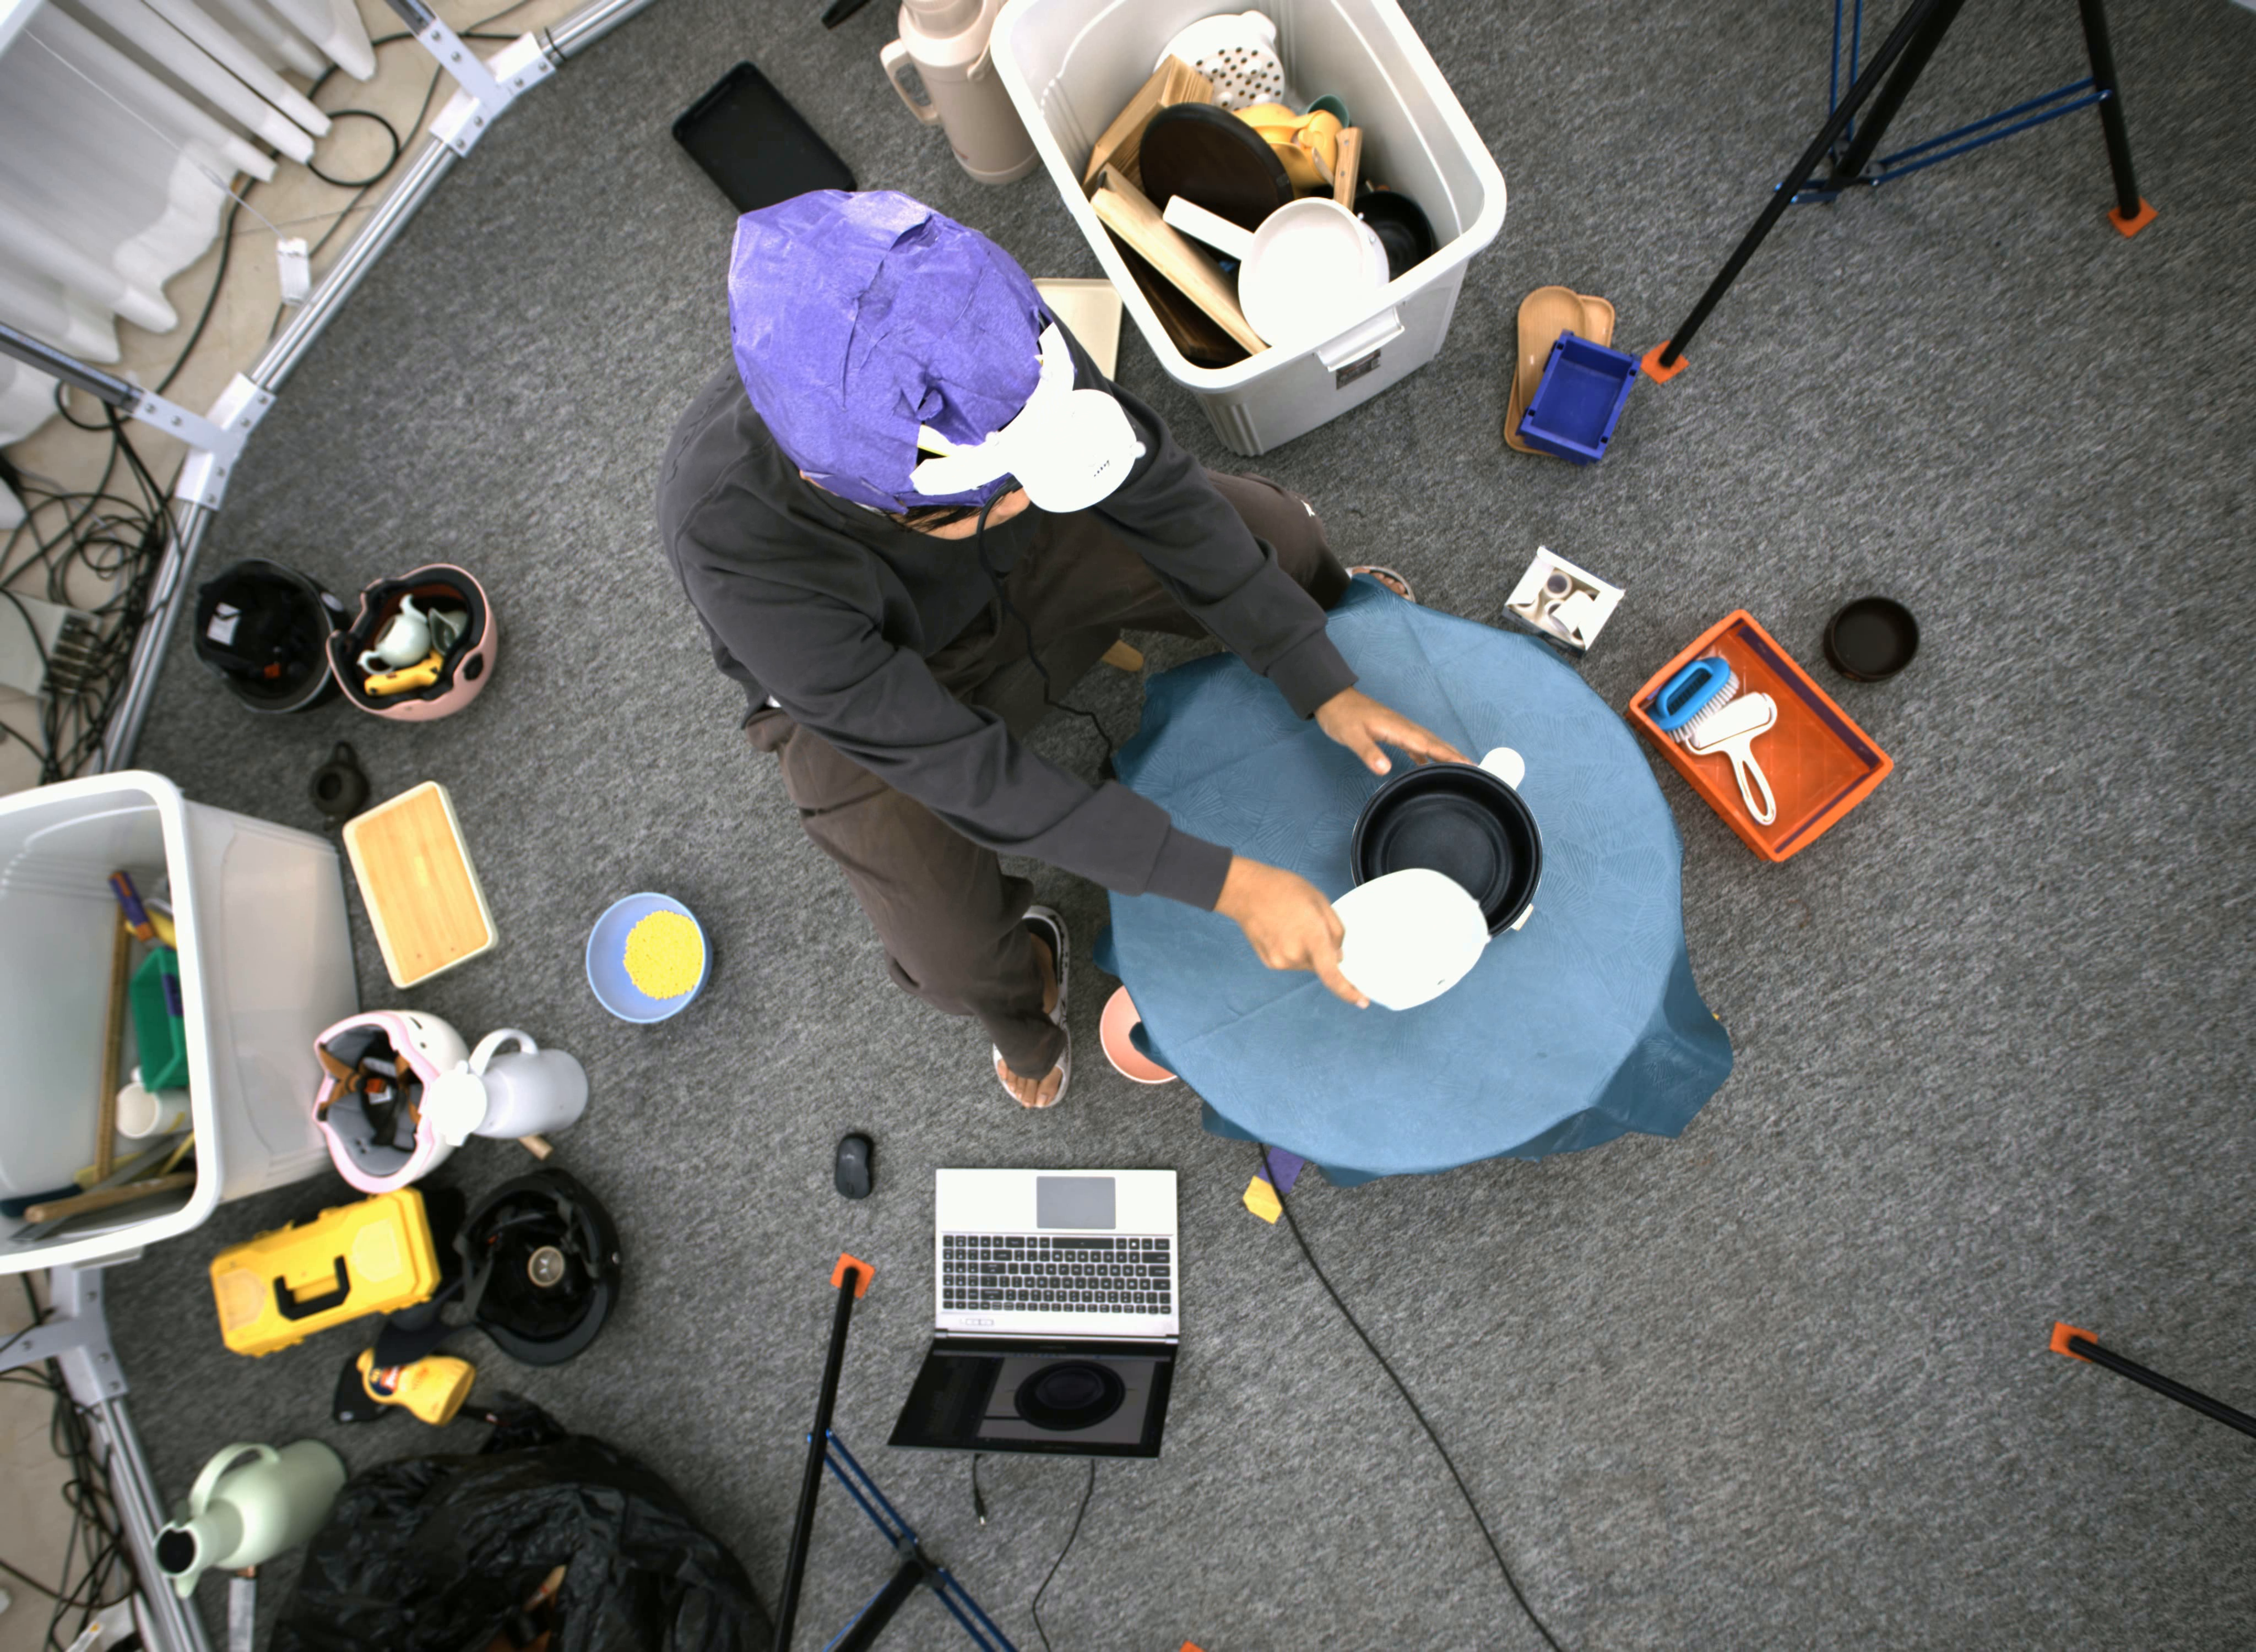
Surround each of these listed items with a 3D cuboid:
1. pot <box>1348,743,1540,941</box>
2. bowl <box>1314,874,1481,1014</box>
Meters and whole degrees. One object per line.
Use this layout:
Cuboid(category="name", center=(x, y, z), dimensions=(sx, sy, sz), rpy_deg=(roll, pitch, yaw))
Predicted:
Cuboid(category="pot", center=(0.320, 0.032, 1.382), dimensions=(0.190, 0.142, 0.241), rpy_deg=(32, 94, 15))
Cuboid(category="bowl", center=(0.246, 0.115, 1.255), dimensions=(0.152, 0.060, 0.147), rpy_deg=(-11, 41, 10))
